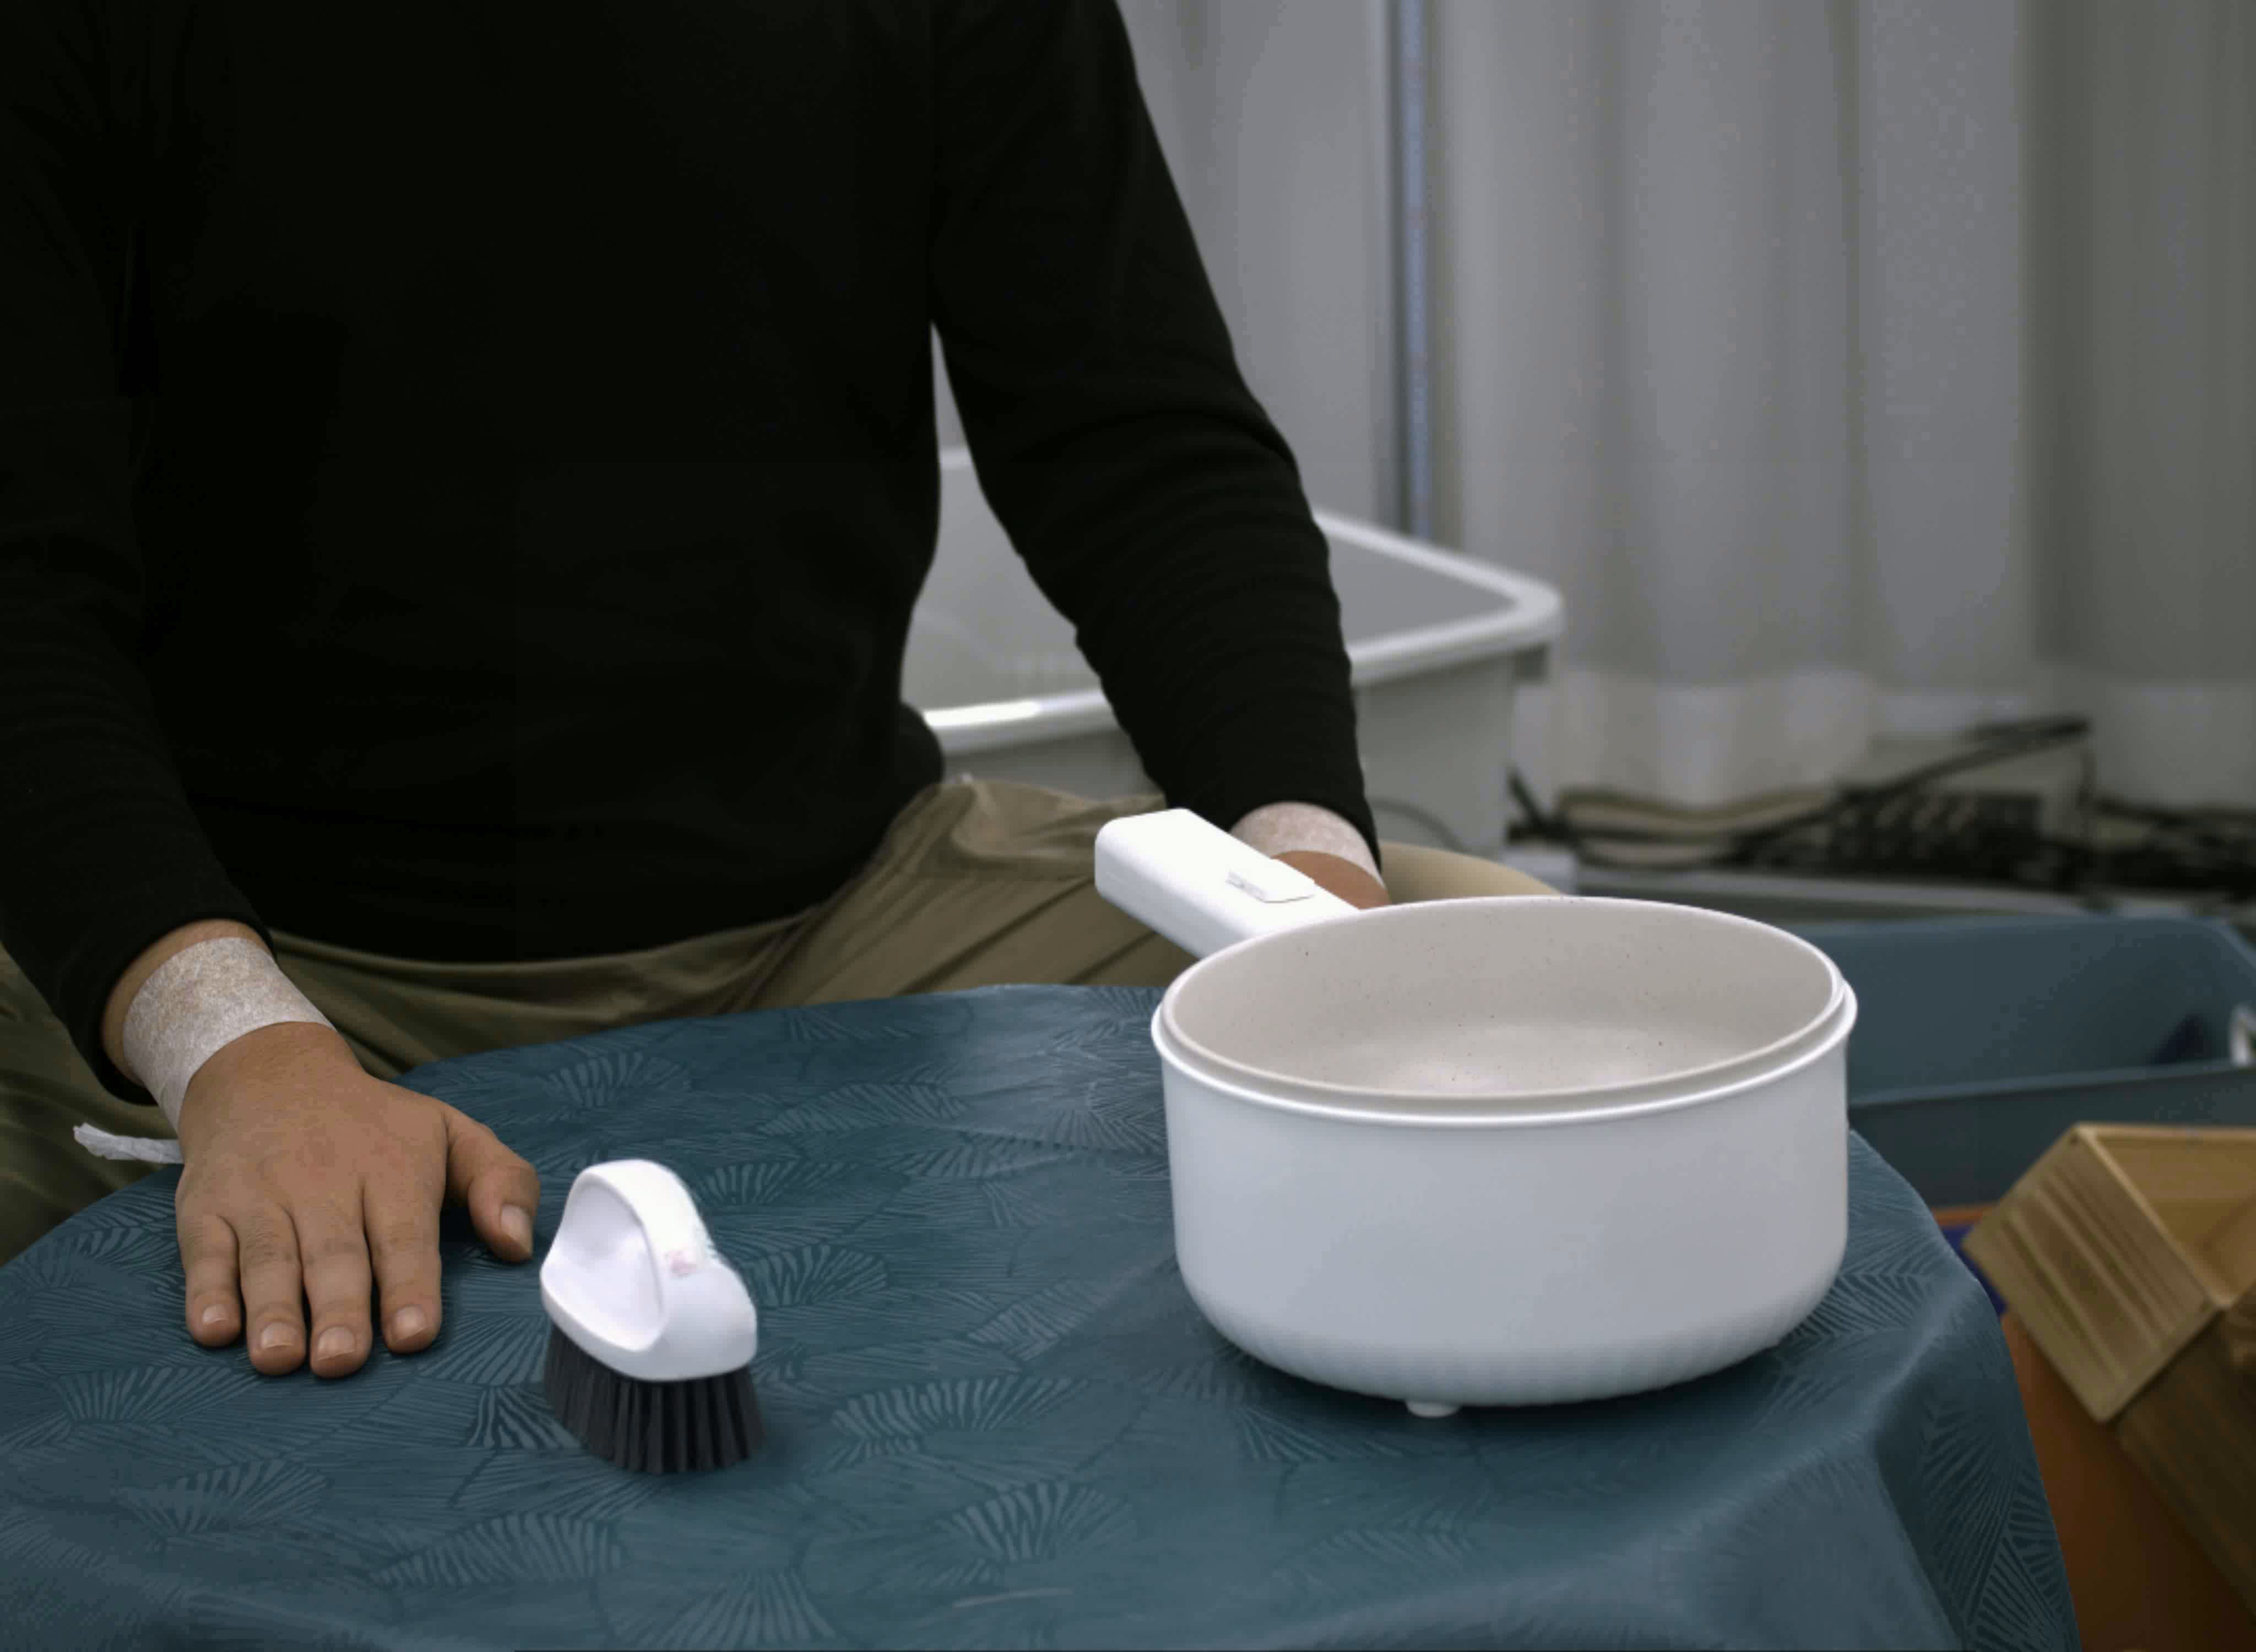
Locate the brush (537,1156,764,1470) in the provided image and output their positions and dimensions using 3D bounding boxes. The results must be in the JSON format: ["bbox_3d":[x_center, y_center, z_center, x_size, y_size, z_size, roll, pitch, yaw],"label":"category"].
[{"bbox_3d":[-0.136,0.131,1.536,0.050,0.072,0.100,-8,15,-21],"label":"brush"}]

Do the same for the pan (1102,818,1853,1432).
[{"bbox_3d":[0.079,0.082,1.640,0.200,0.101,0.357,-11,16,-21],"label":"pan"}]
